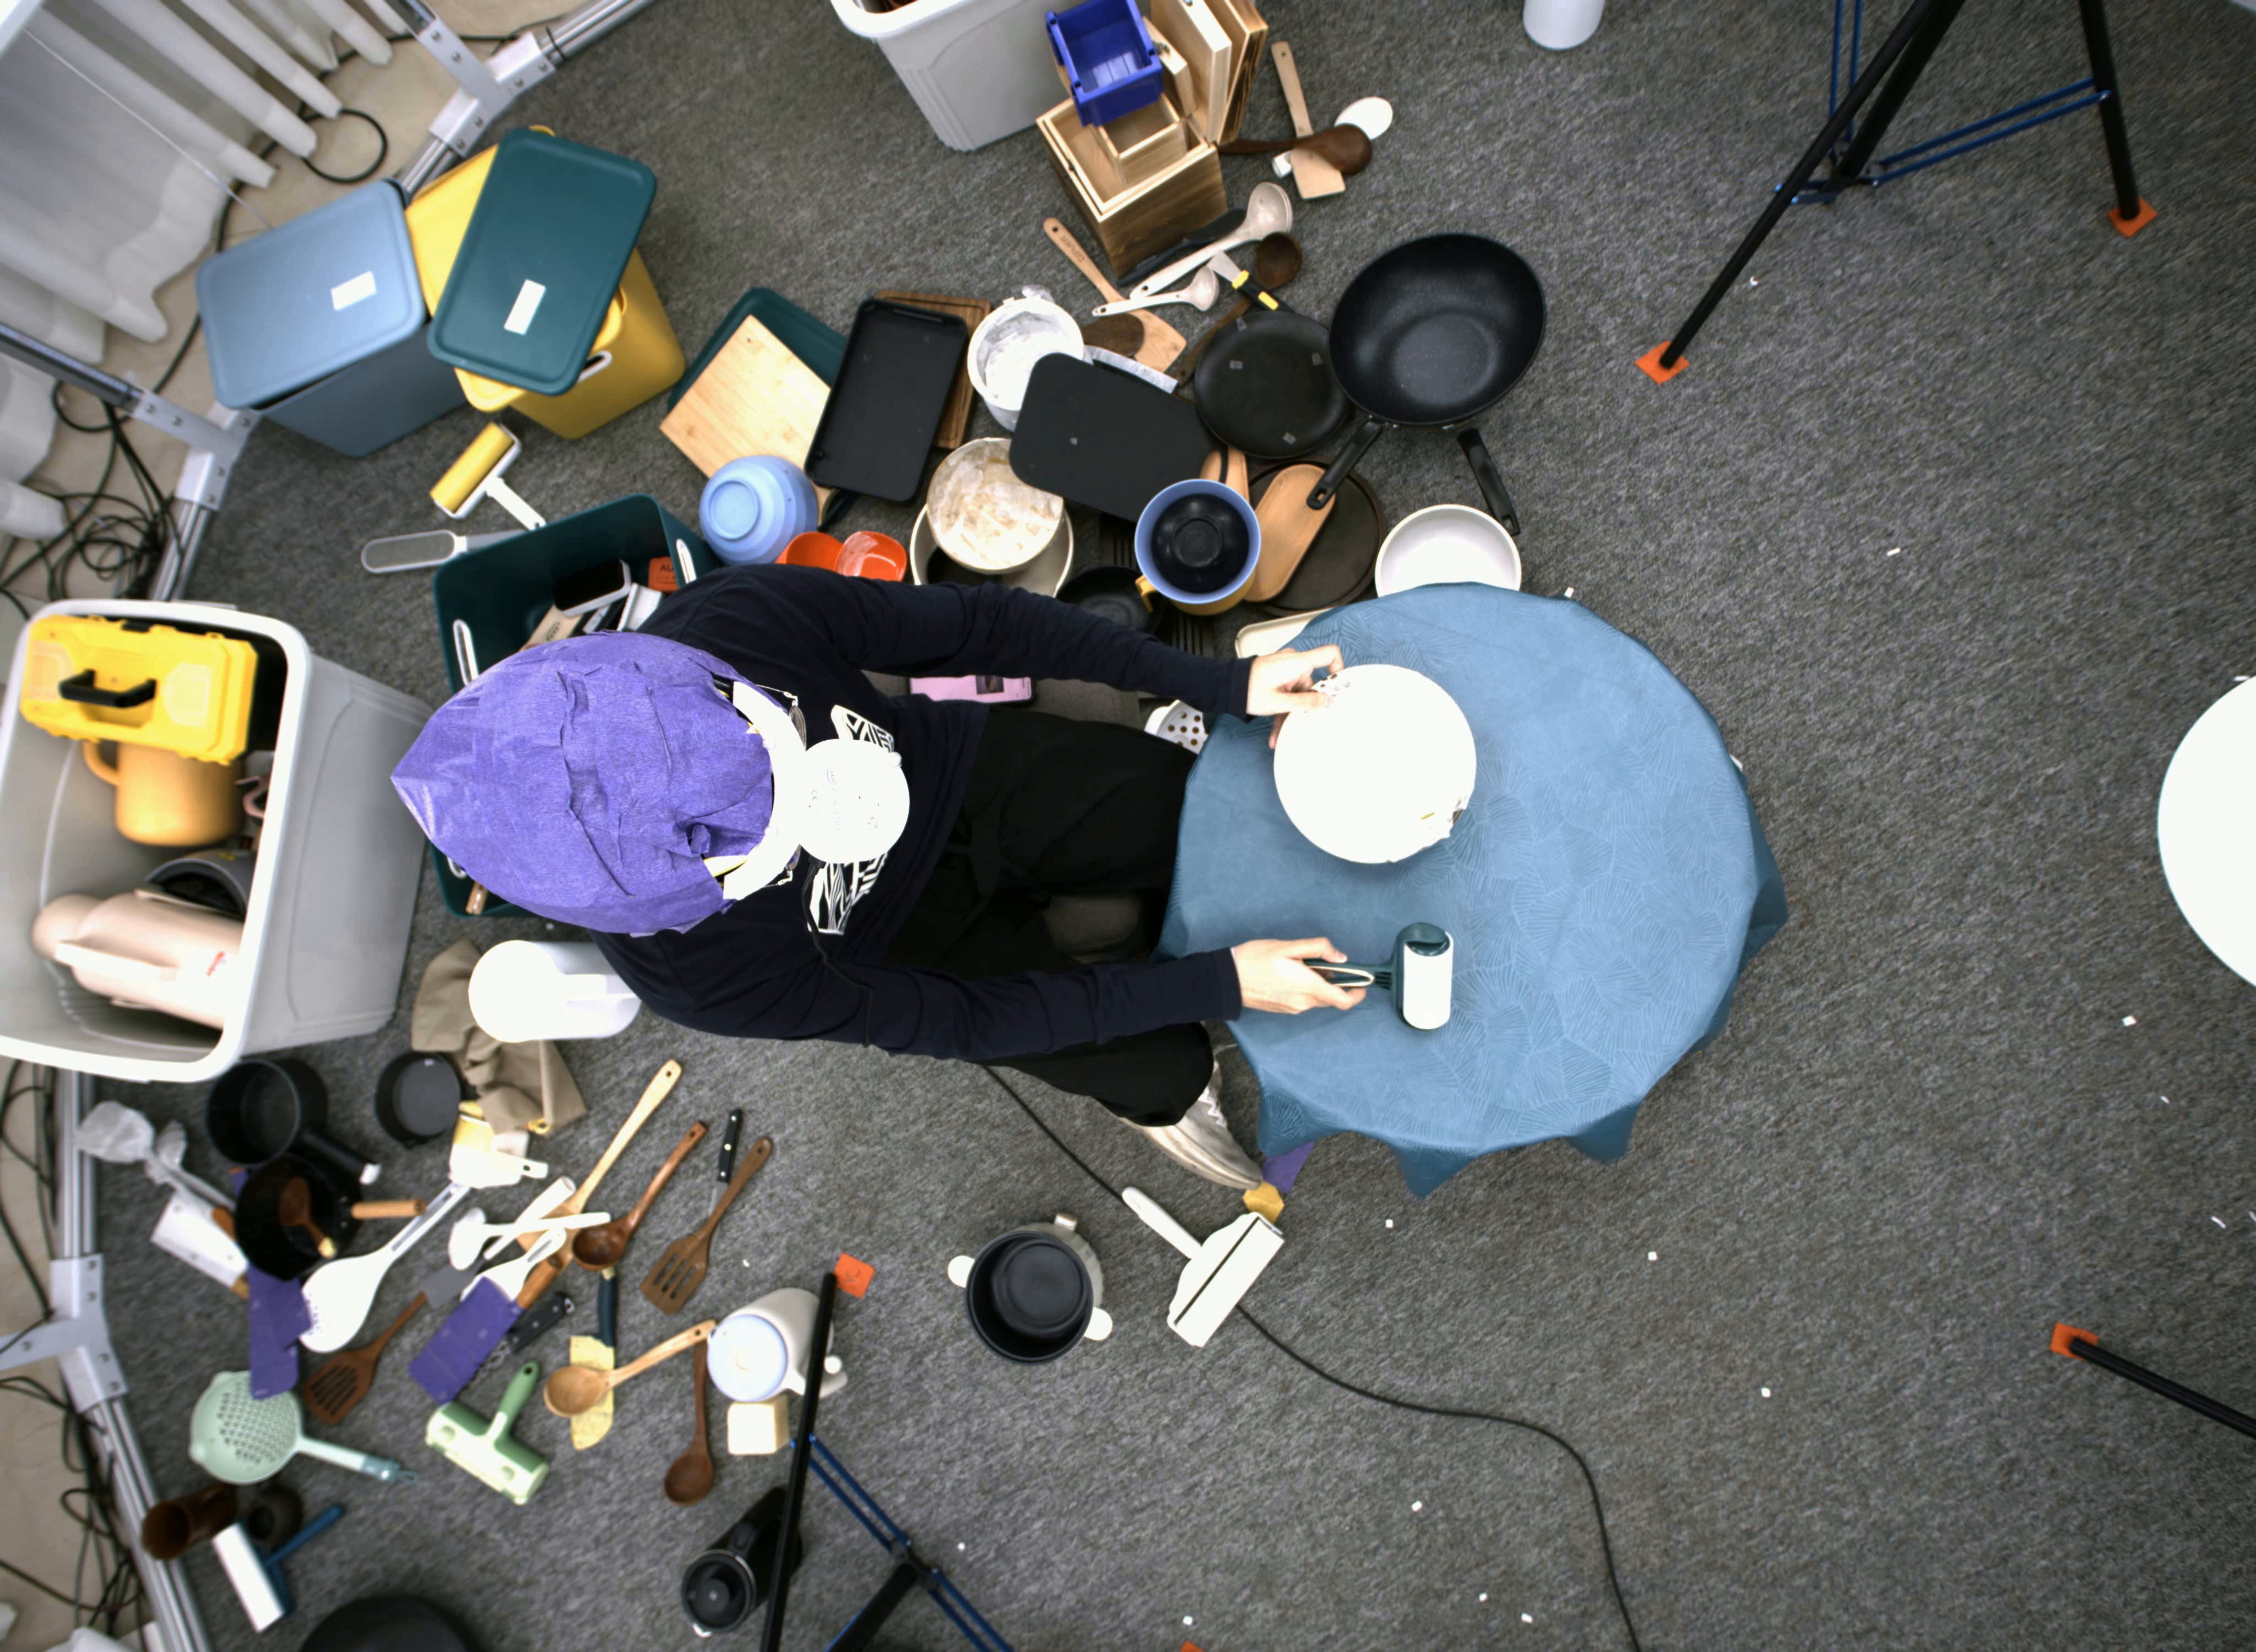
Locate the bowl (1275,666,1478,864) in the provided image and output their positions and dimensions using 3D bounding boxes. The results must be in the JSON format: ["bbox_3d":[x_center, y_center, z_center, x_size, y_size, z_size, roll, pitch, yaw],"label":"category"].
[{"bbox_3d":[0.257,-0.060,1.430,0.205,0.078,0.203,-1,86,11],"label":"bowl"}]

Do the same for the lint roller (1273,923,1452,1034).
[{"bbox_3d":[0.237,0.155,1.404,0.181,0.047,0.137,-2,128,10],"label":"lint roller"}]
